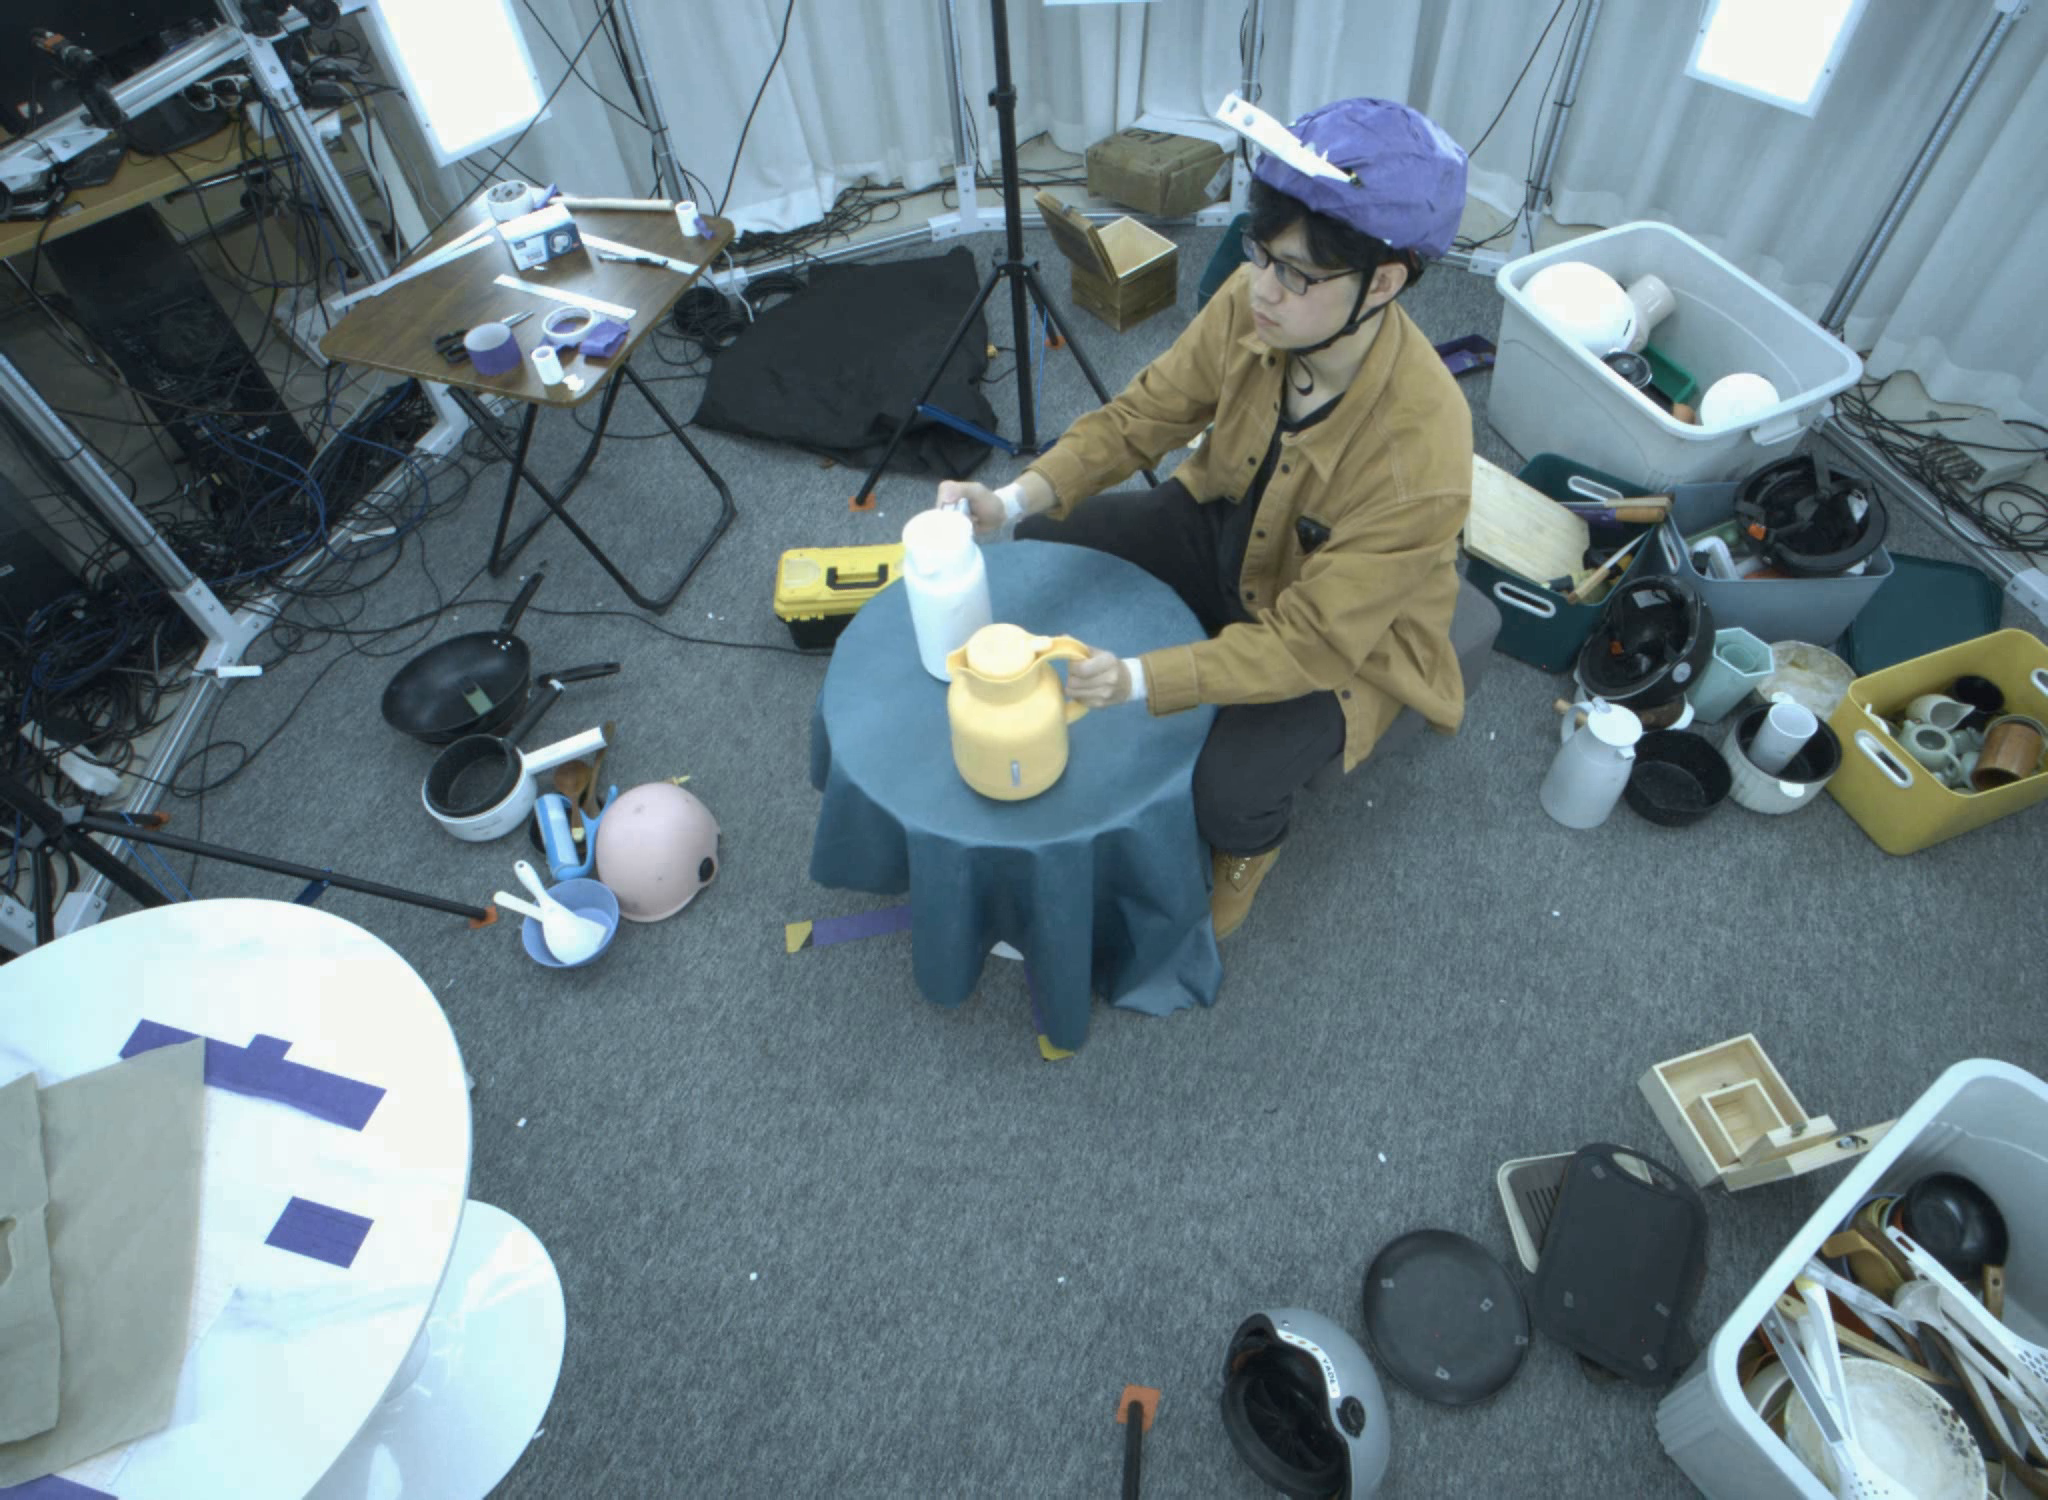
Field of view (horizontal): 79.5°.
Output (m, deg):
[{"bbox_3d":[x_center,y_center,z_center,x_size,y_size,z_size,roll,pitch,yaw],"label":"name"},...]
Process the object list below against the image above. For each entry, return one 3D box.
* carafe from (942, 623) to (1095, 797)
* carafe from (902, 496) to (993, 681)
[{"bbox_3d":[-0.004,-0.062,1.664,0.202,0.263,0.161,-8,57,0],"label":"carafe"},{"bbox_3d":[-0.108,-0.237,1.788,0.123,0.272,0.172,8,57,12],"label":"carafe"}]
